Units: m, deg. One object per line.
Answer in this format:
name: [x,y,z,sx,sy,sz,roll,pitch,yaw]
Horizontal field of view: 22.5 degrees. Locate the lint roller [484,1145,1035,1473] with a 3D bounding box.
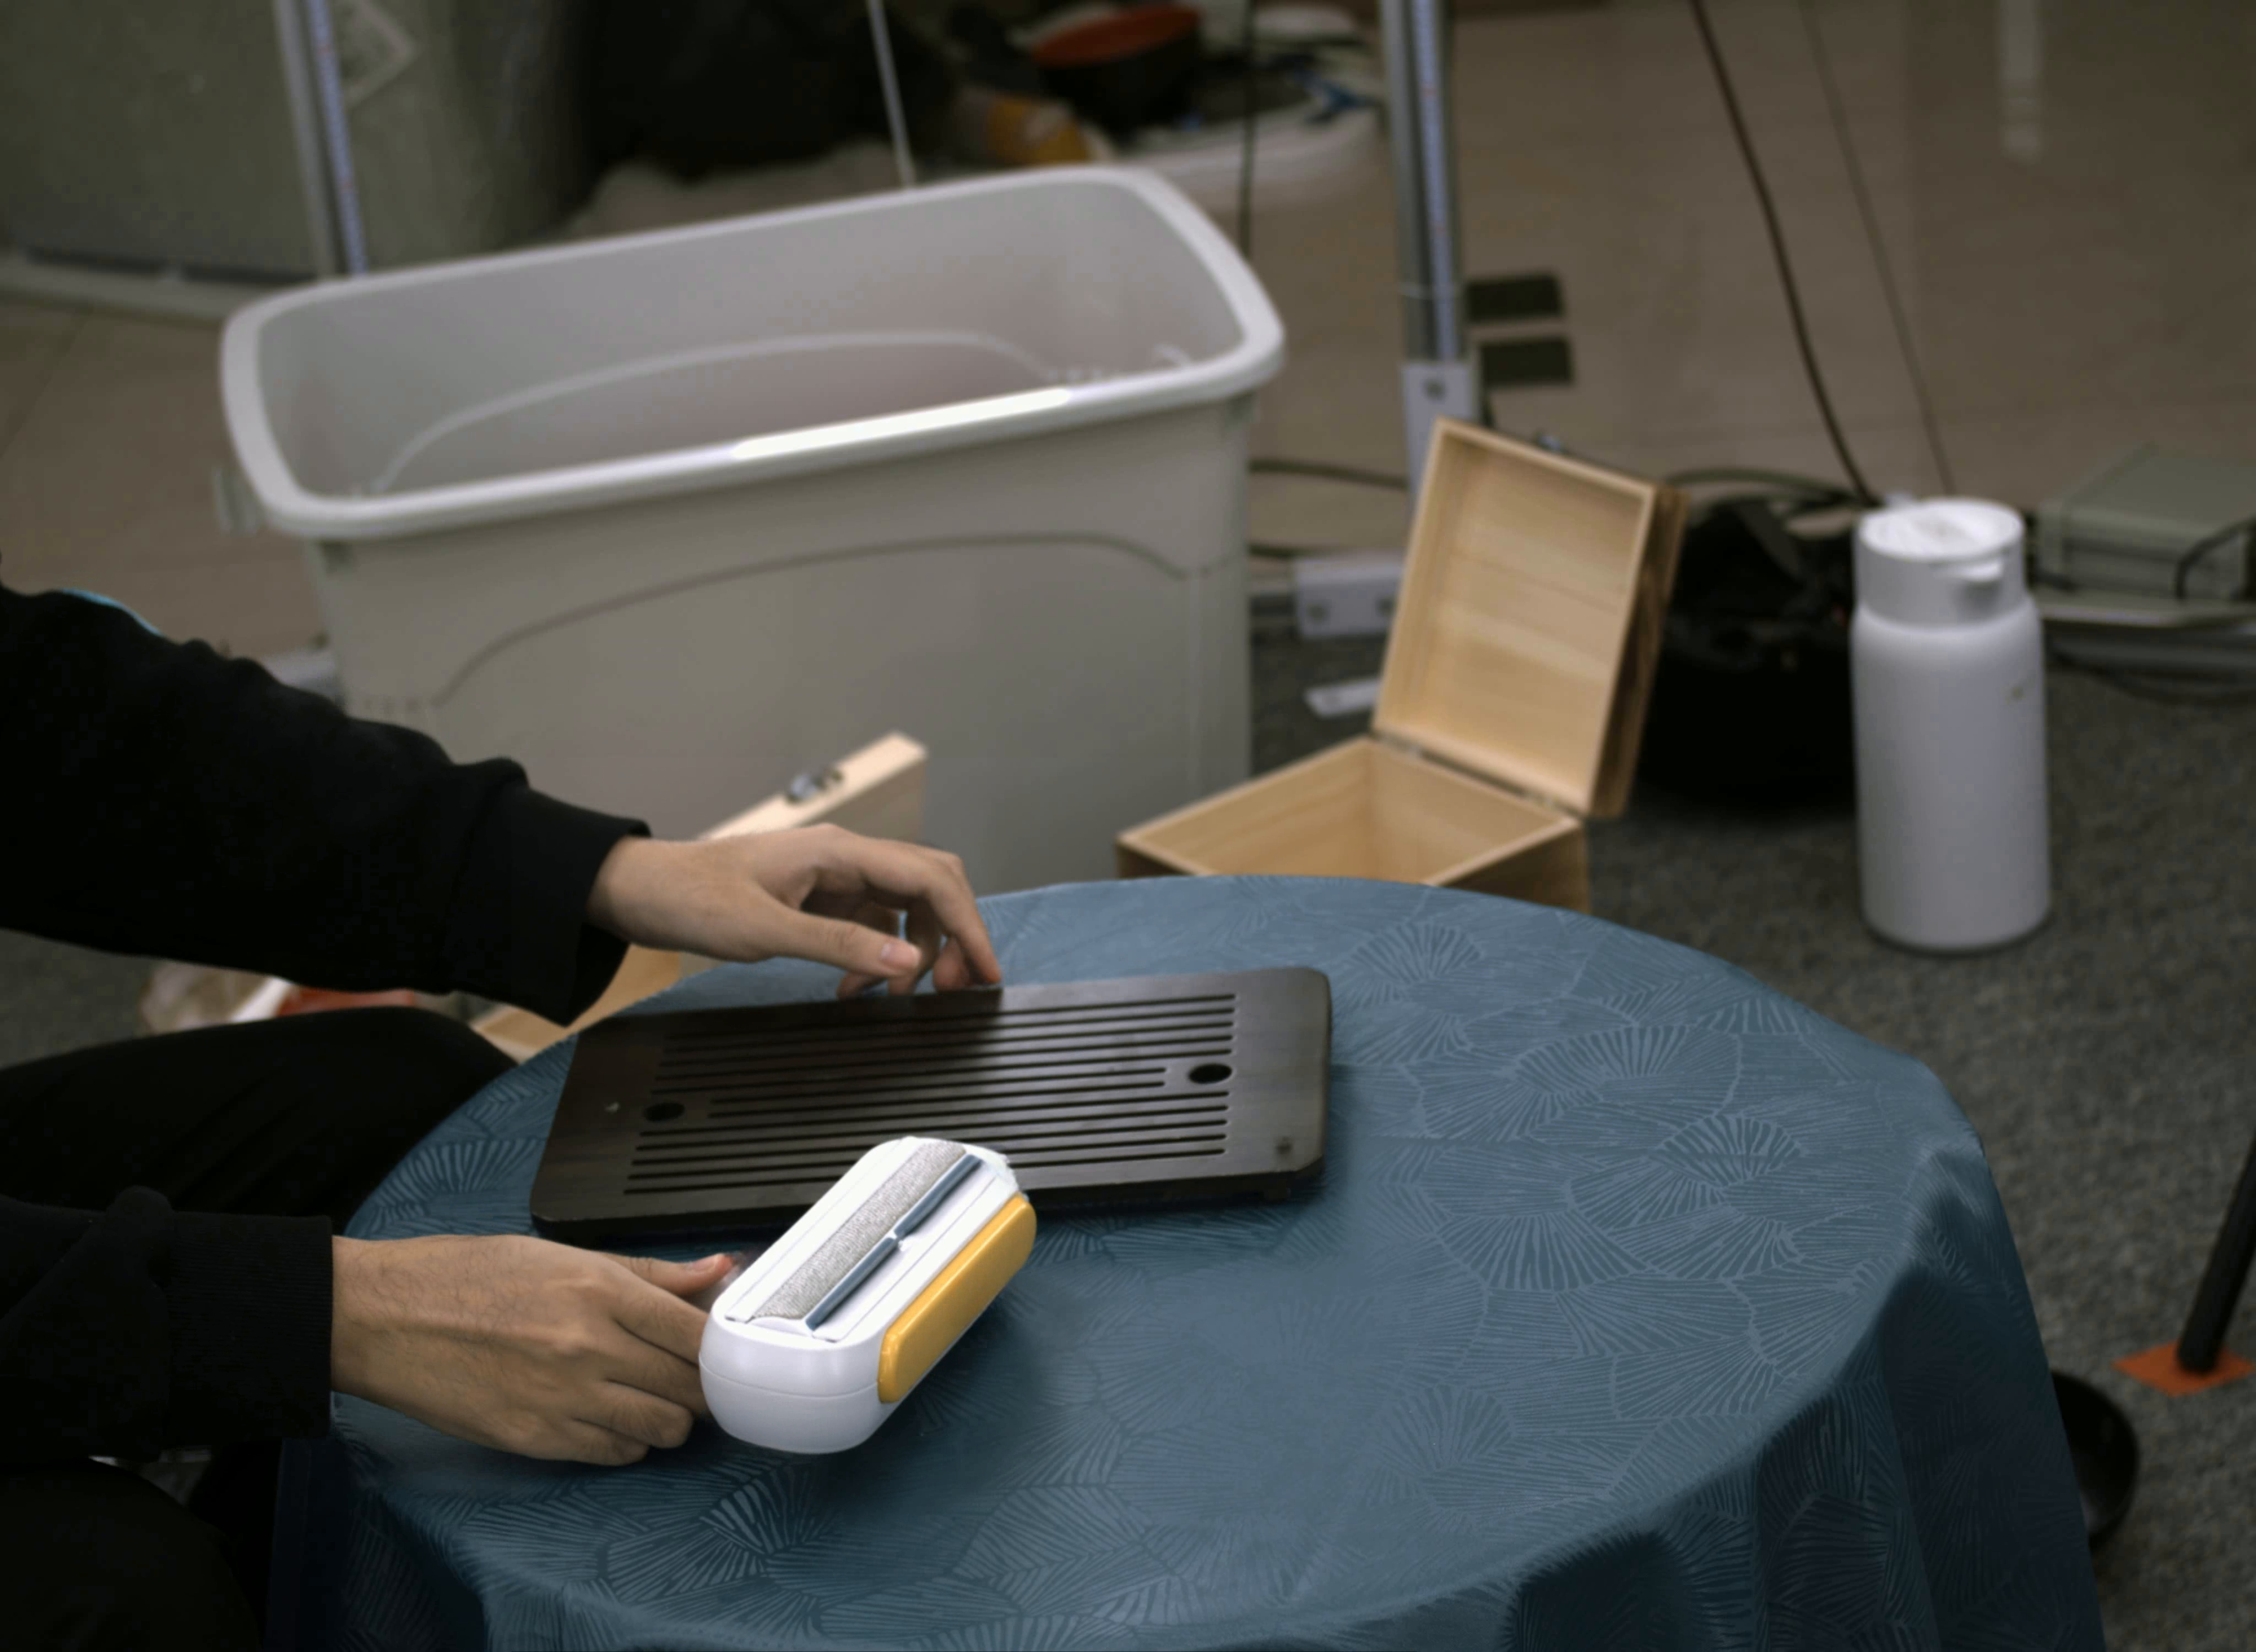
lint roller: [-0.147,0.171,2.029,0.192,0.075,0.190,3,25,23]

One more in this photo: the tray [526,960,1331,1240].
tray: [-0.074,0.107,2.205,0.305,0.019,0.167,-4,26,5]
